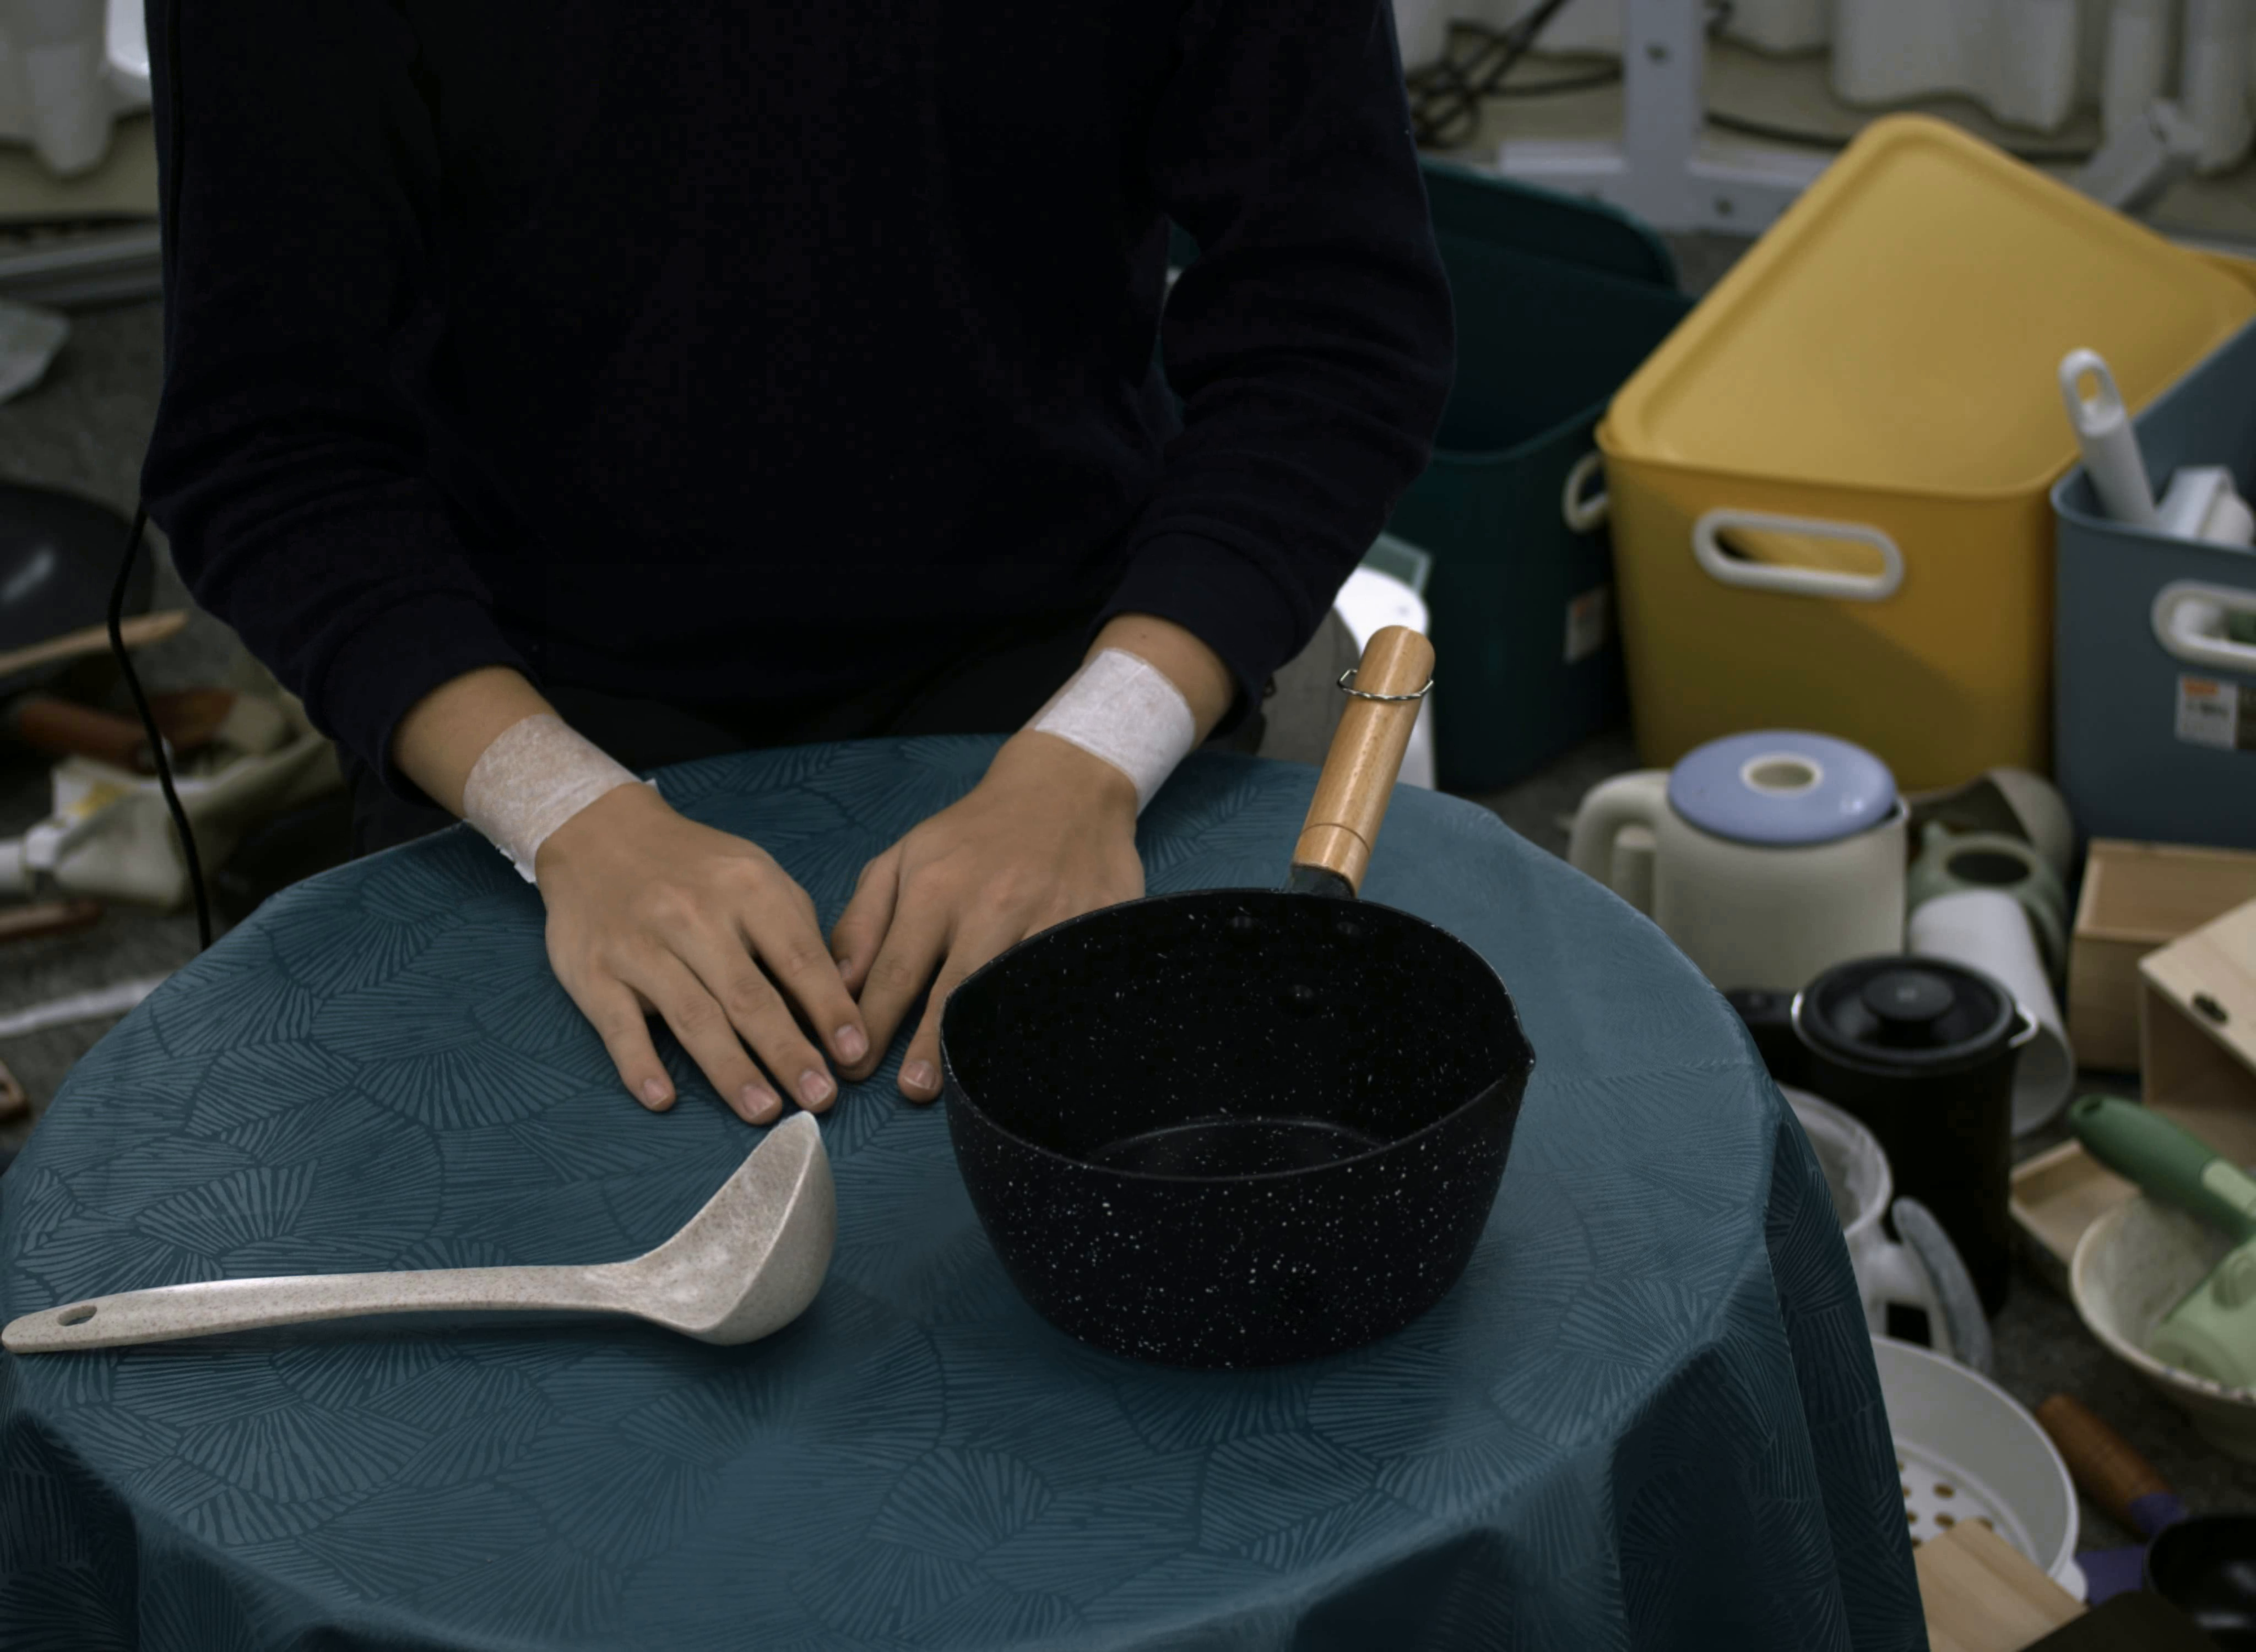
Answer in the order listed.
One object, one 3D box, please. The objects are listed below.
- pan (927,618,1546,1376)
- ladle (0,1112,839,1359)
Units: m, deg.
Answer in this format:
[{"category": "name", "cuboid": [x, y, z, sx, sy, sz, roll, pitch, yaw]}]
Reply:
[{"category": "pan", "cuboid": [0.053, 0.053, 1.873, 0.206, 0.107, 0.349, 3, 29, 14]}, {"category": "ladle", "cuboid": [-0.228, 0.134, 1.791, 0.273, 0.068, 0.091, -2, 33, 2]}]
